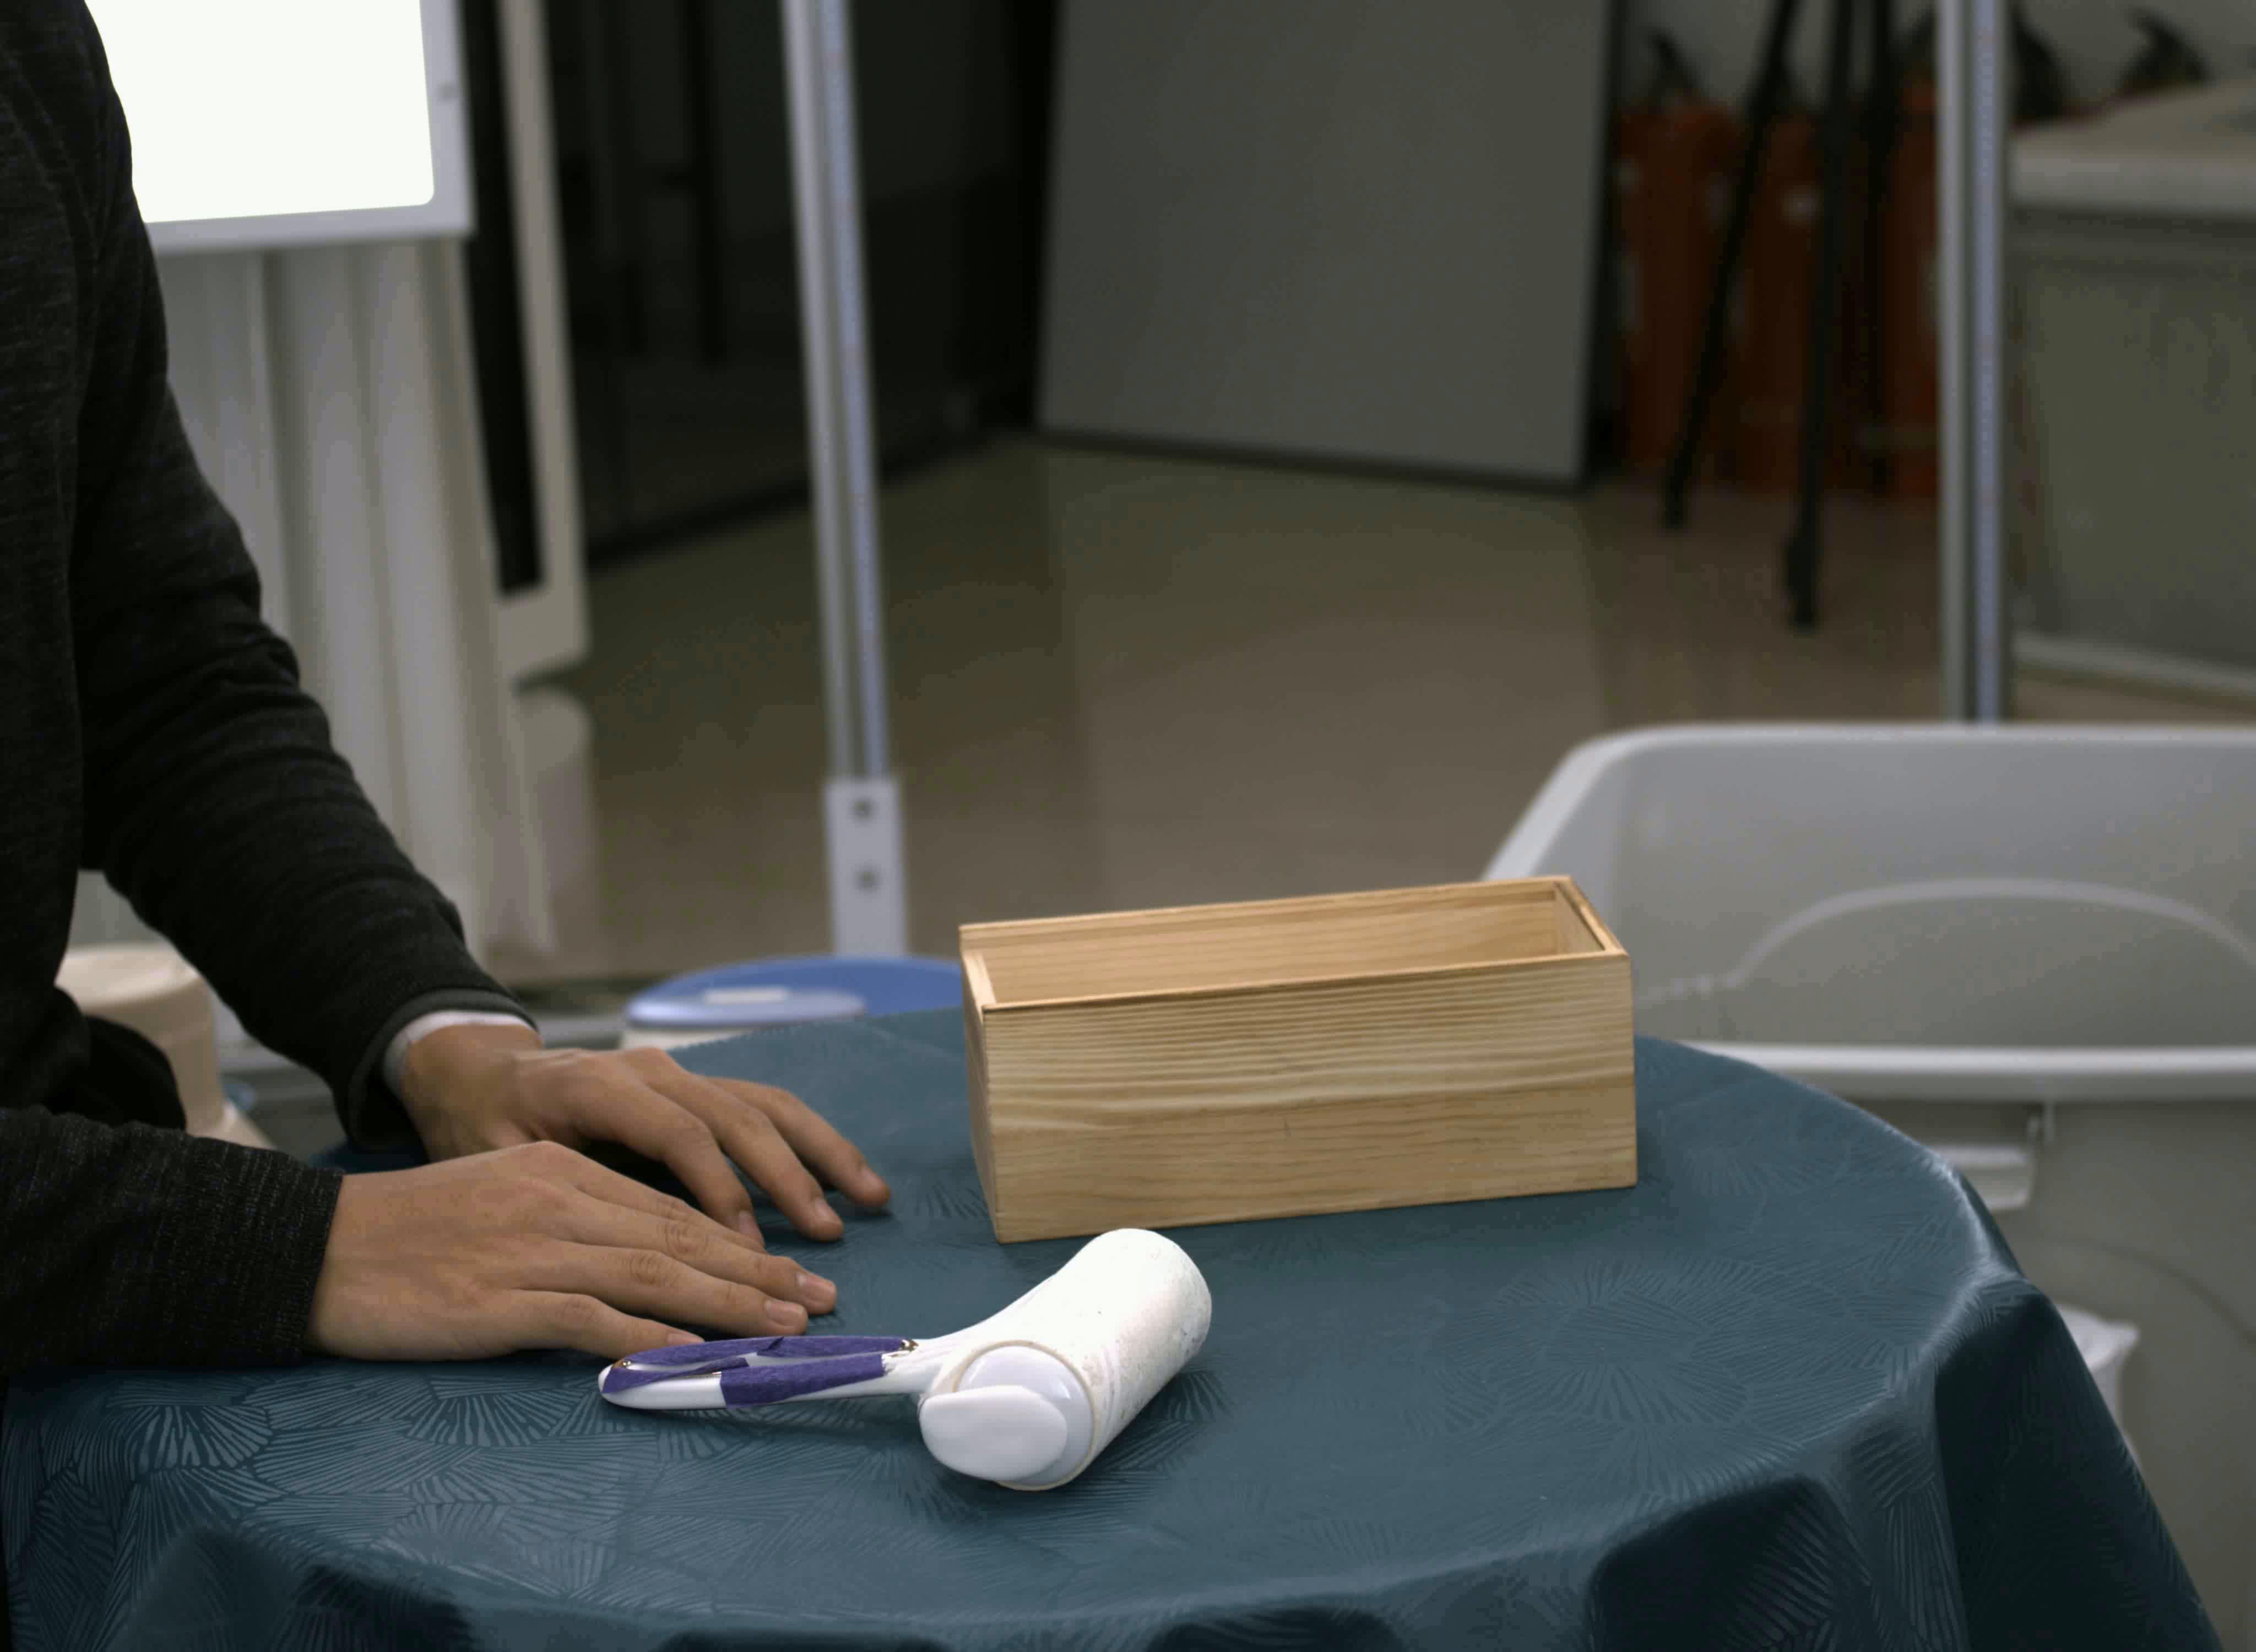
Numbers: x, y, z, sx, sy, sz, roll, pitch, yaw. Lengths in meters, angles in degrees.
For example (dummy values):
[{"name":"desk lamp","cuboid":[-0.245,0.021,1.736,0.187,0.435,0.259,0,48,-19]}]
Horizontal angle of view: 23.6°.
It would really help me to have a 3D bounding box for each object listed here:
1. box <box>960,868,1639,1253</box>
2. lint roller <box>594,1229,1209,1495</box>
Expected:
[{"name":"box","cuboid":[0.055,0.075,1.772,0.208,0.081,0.108,-6,14,-4]},{"name":"lint roller","cuboid":[-0.074,0.150,1.575,0.181,0.051,0.131,4,16,22]}]
